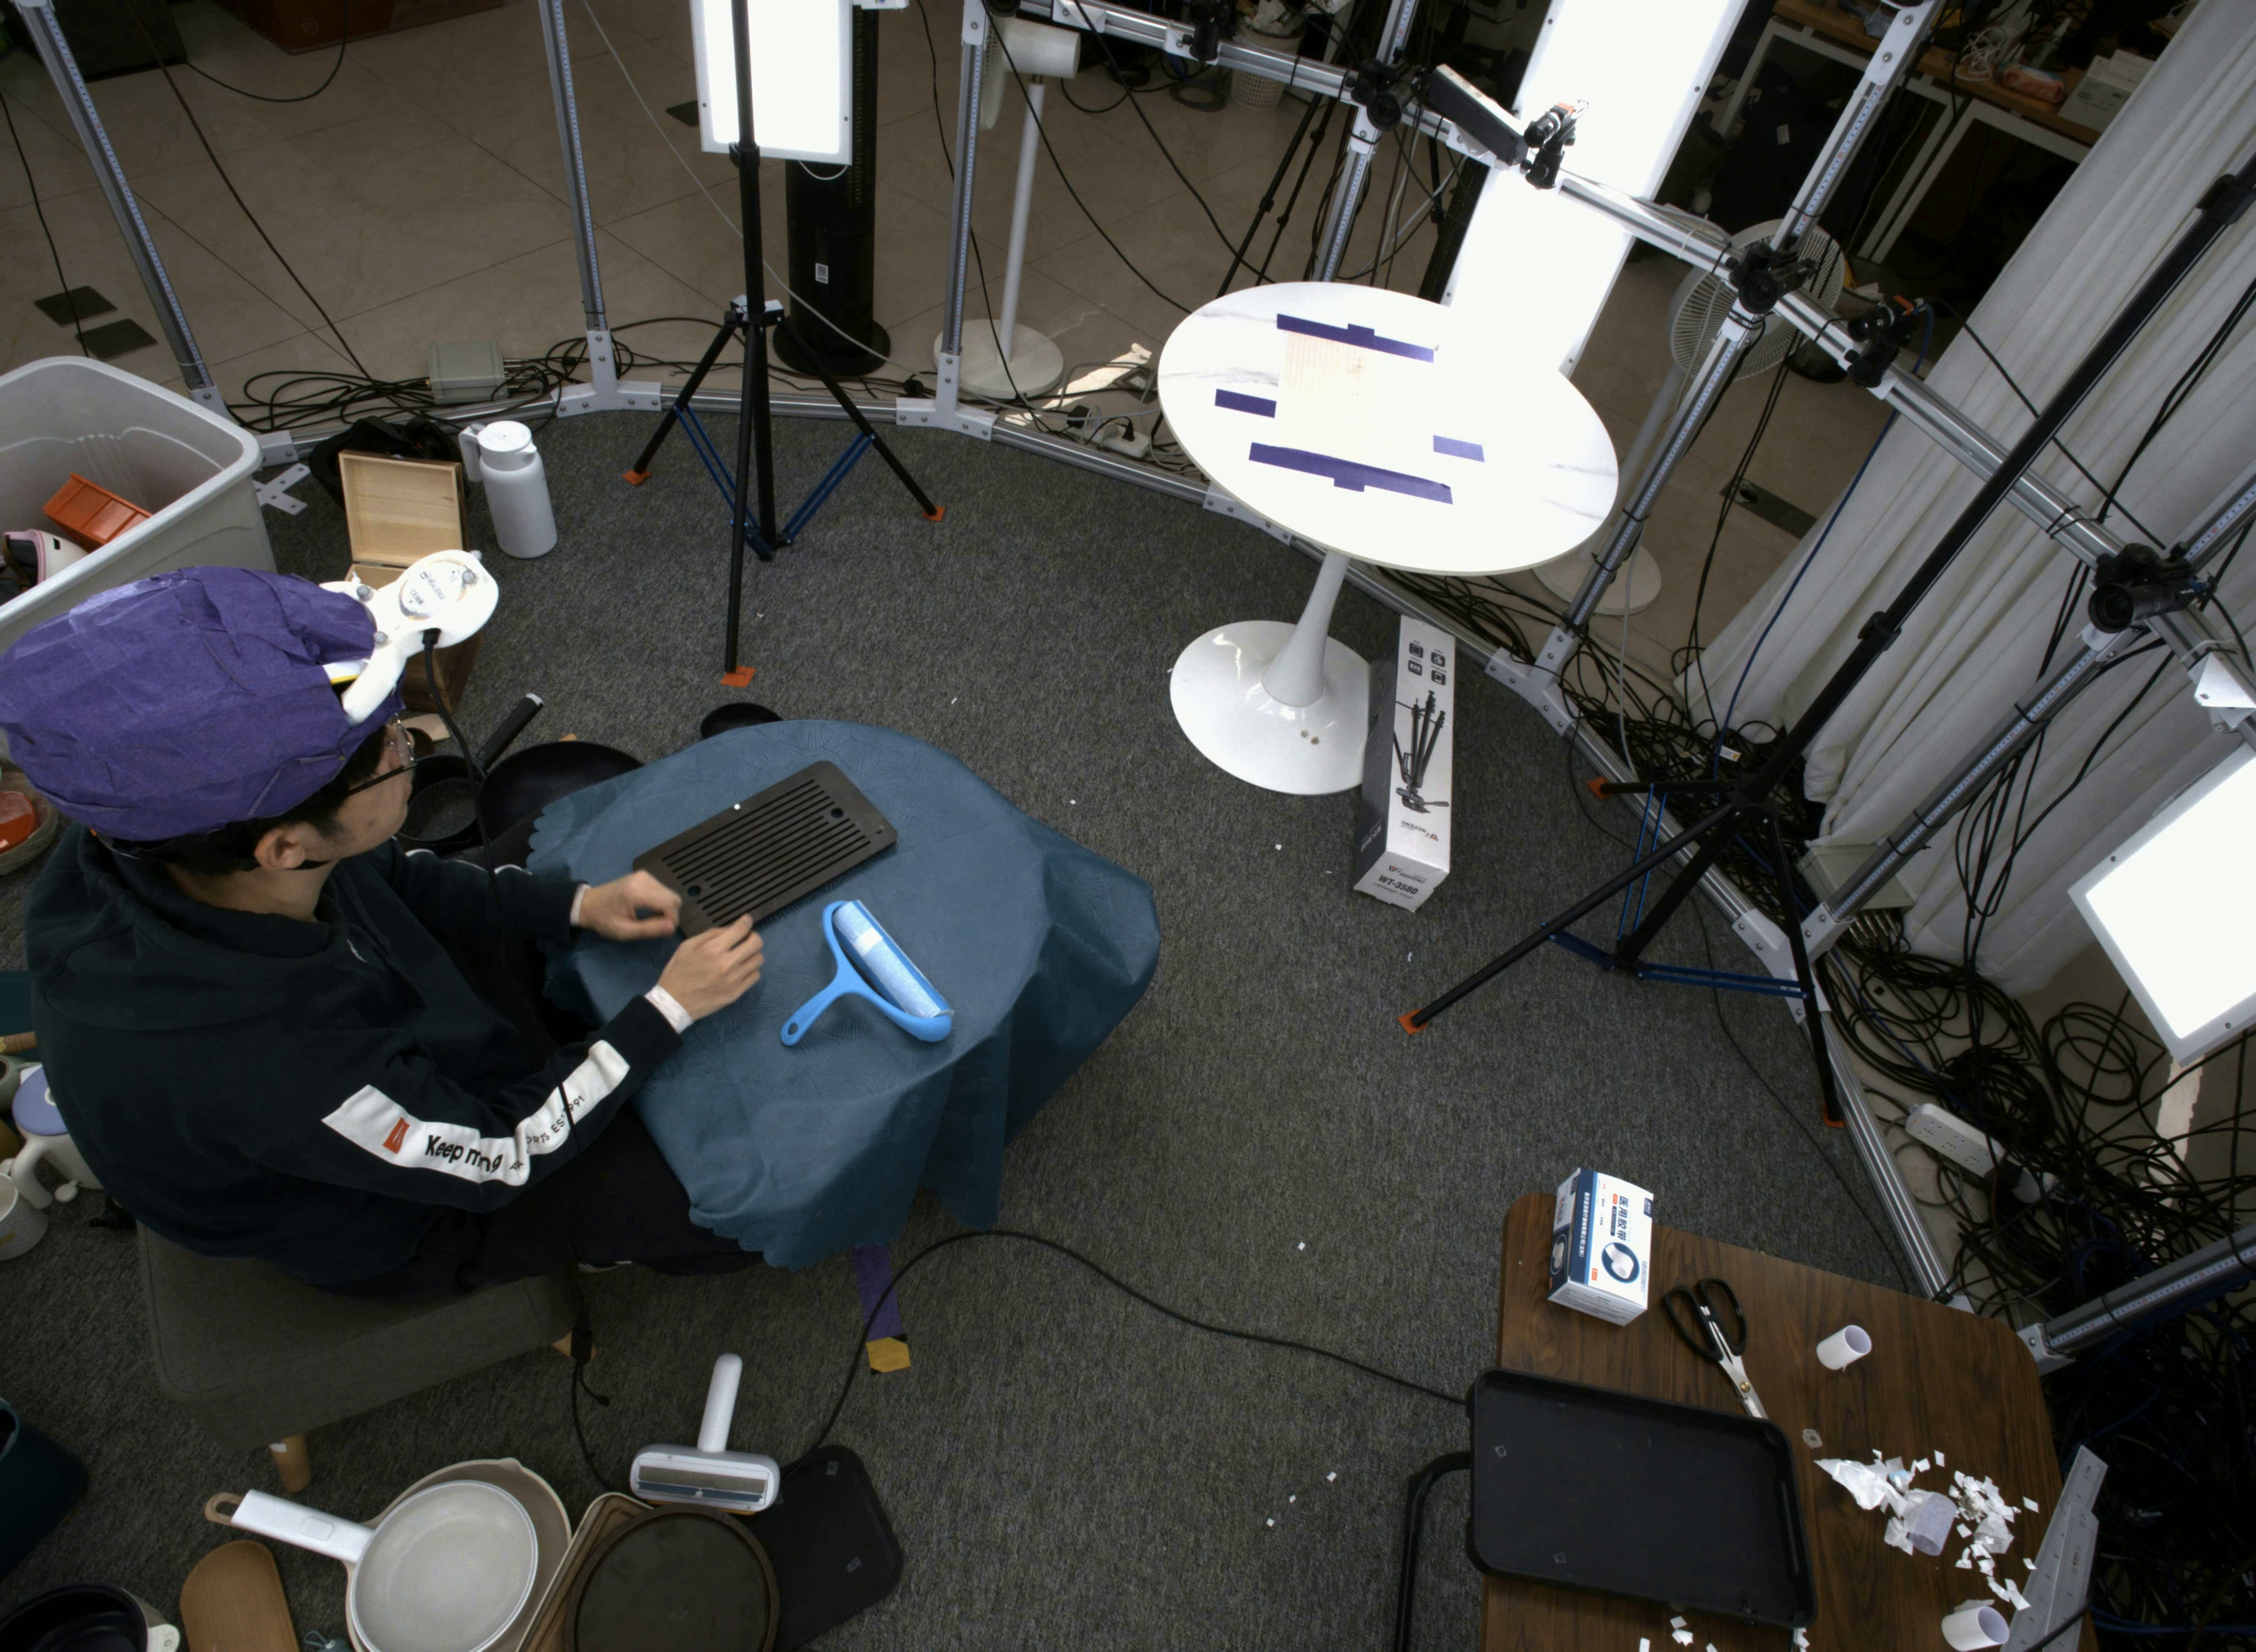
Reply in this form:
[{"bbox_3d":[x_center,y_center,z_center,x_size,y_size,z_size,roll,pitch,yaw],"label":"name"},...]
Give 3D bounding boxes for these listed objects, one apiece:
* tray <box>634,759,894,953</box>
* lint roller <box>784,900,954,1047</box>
[{"bbox_3d":[-0.470,0.033,1.682,0.307,0.019,0.166,-34,69,-32],"label":"tray"},{"bbox_3d":[-0.336,0.200,1.569,0.224,0.069,0.181,44,54,16],"label":"lint roller"}]
